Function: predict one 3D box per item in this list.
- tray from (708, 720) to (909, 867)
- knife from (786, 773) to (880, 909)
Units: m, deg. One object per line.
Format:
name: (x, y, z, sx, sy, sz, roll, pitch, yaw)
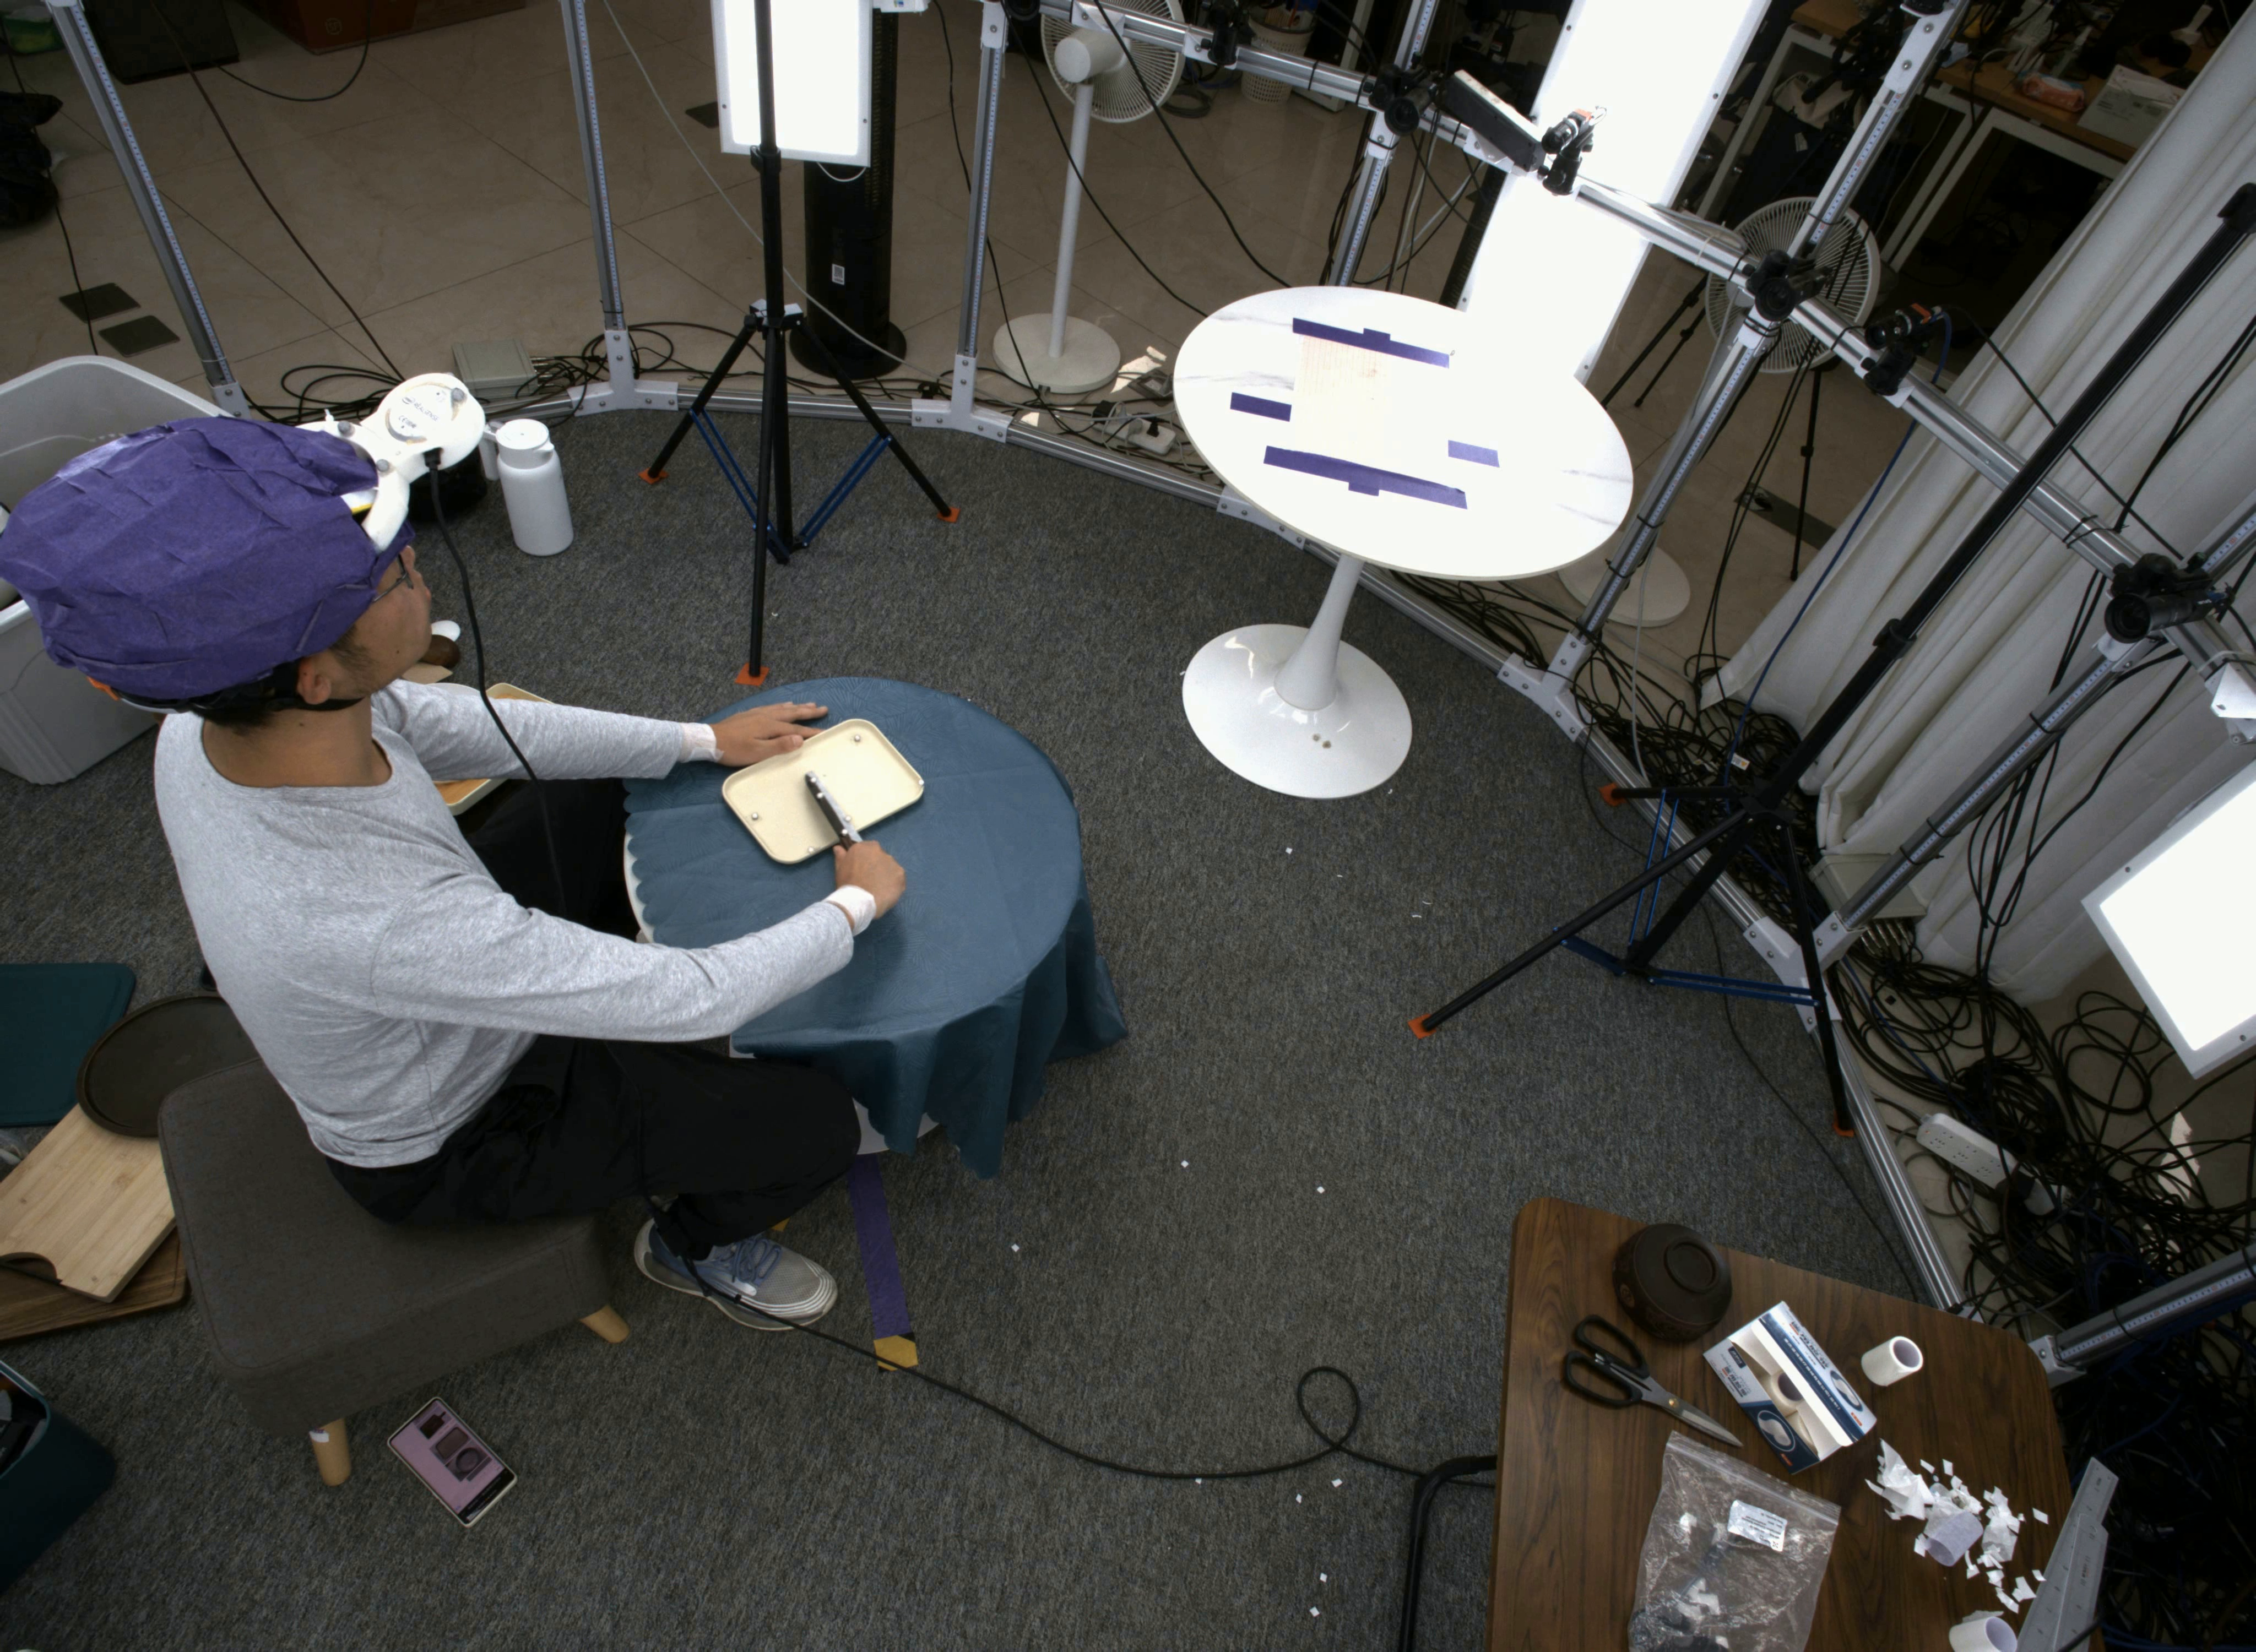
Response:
tray: (-0.431, -0.047, 1.757, 0.240, 0.018, 0.167, -31, 66, -31)
knife: (-0.387, 0.012, 1.688, 0.052, 0.020, 0.279, 25, 19, -51)
